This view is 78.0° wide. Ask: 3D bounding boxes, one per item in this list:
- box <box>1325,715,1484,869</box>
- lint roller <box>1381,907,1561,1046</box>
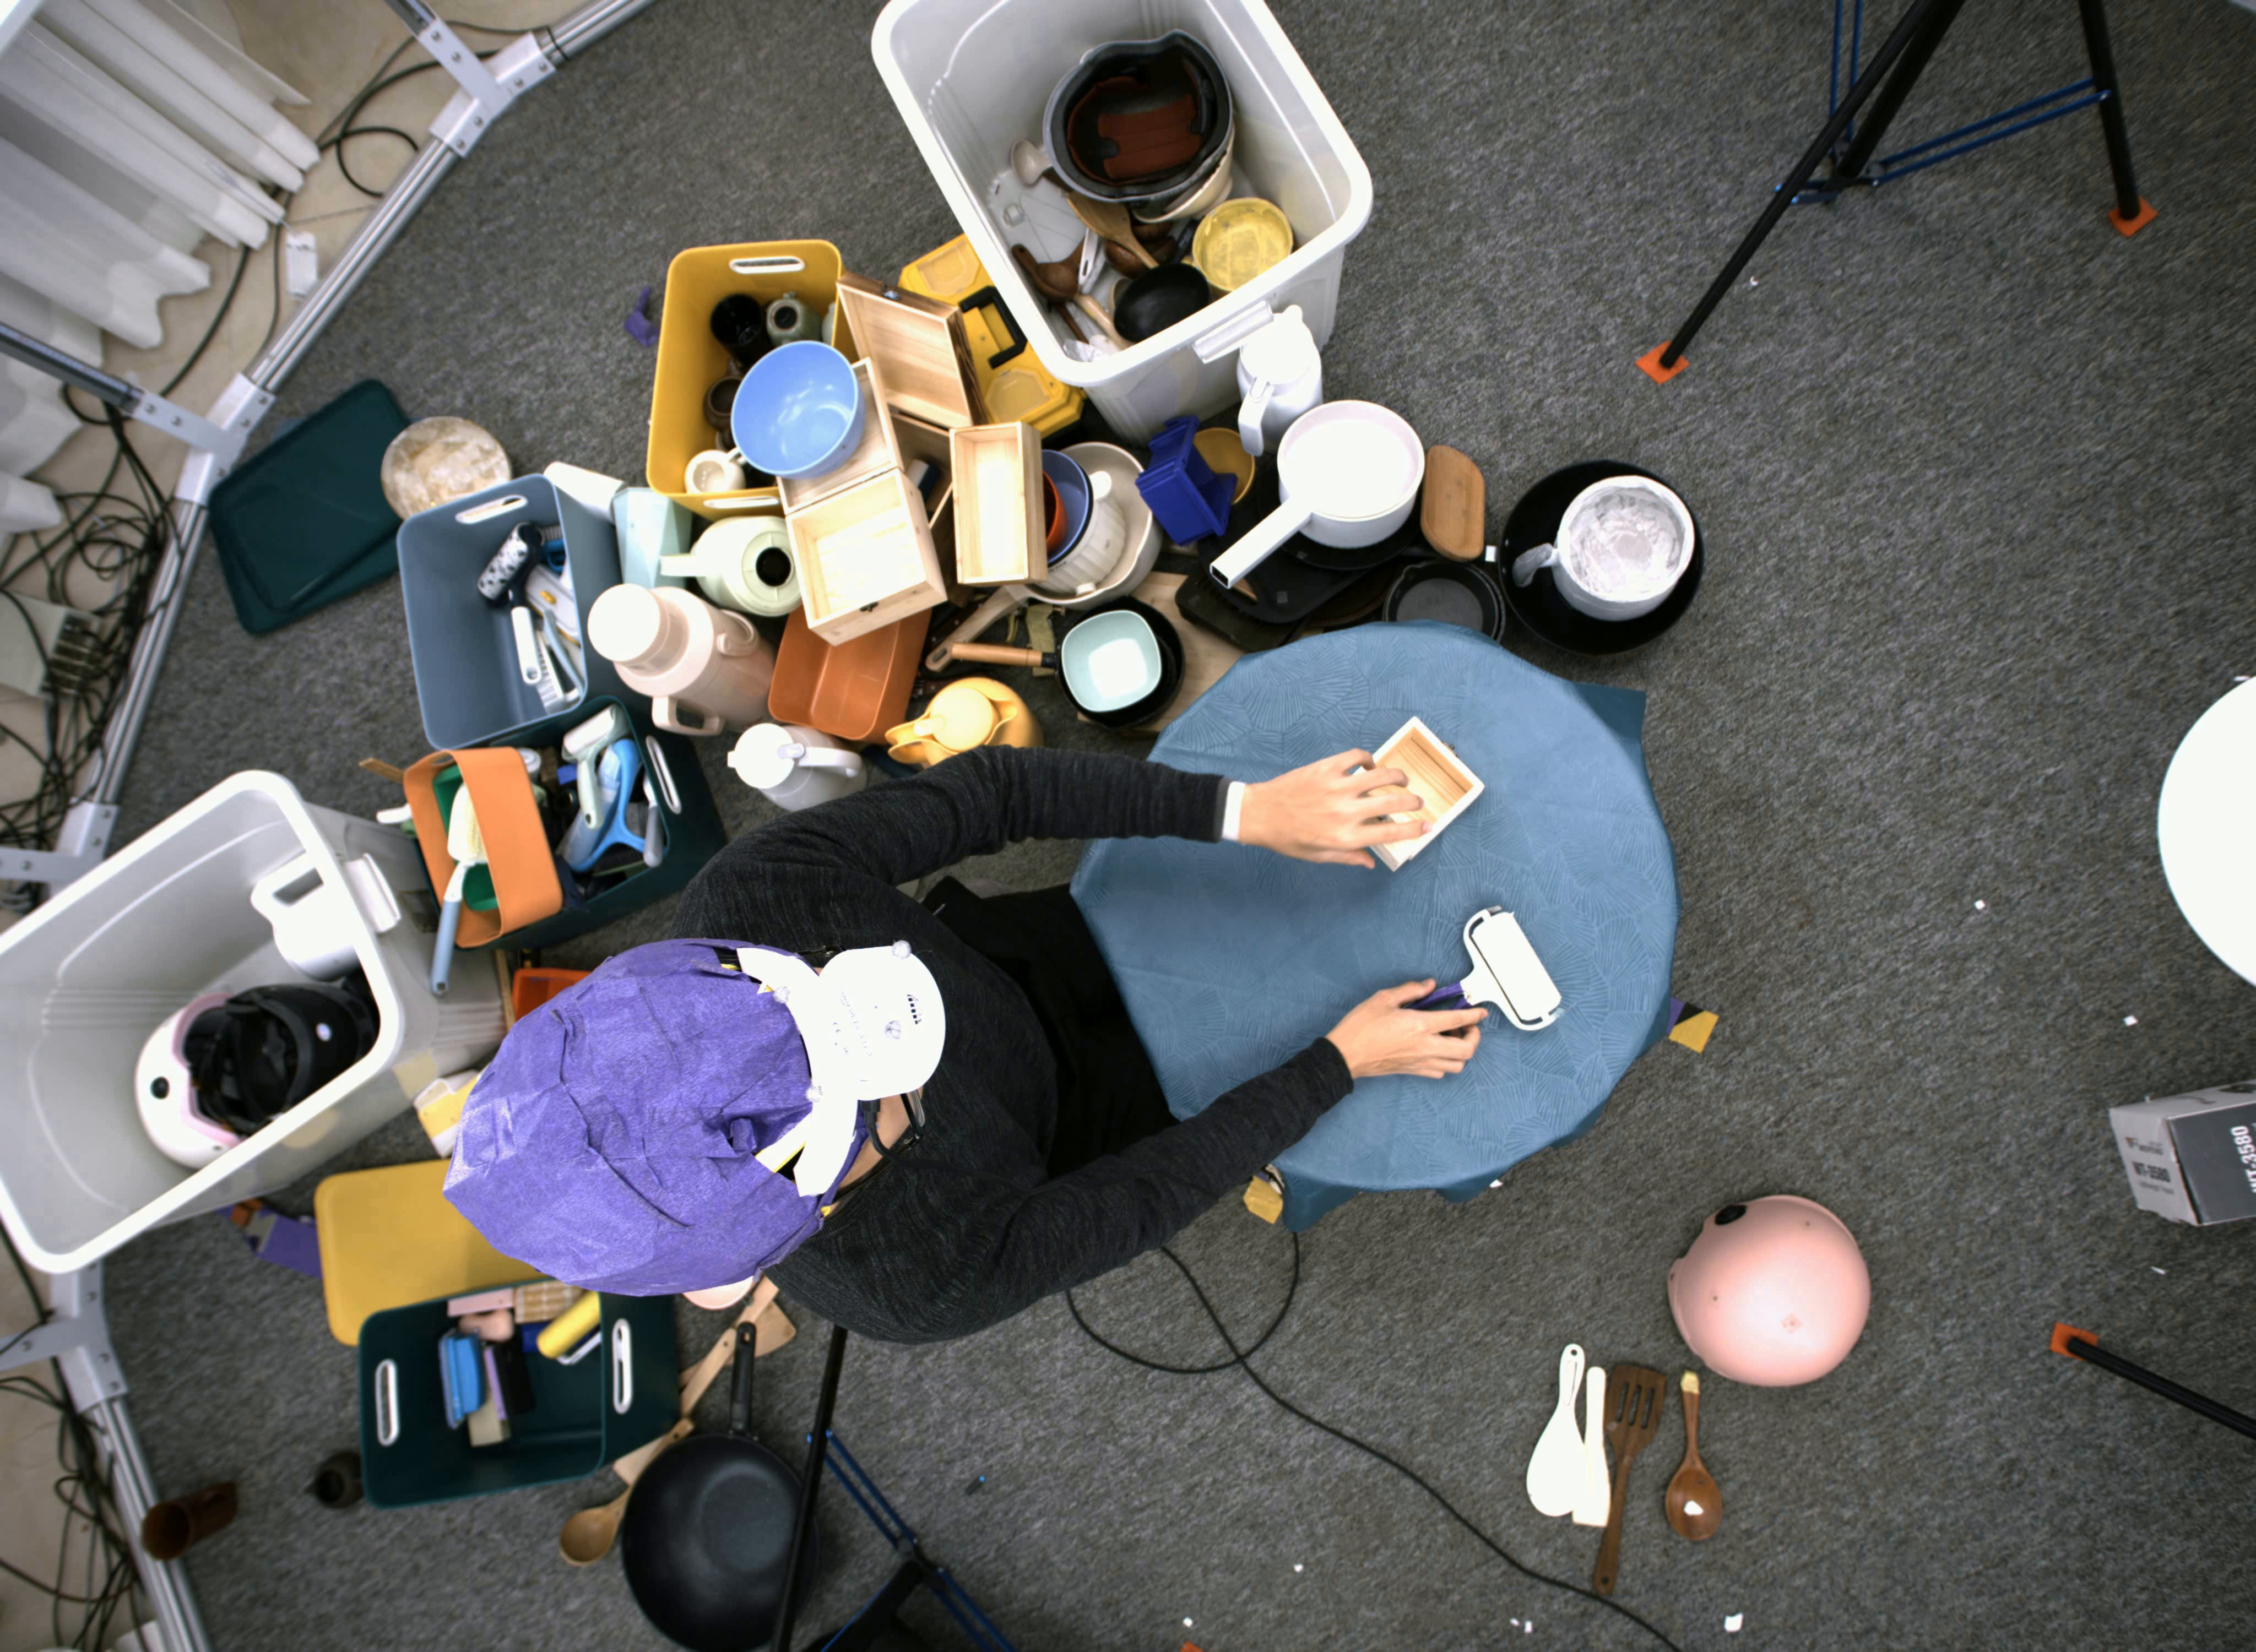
[{"bbox_3d":[0.278,-0.039,1.372,0.134,0.184,0.102,-44,79,4],"label":"box"},{"bbox_3d":[0.340,0.173,1.417,0.181,0.050,0.132,-28,83,6],"label":"lint roller"}]
